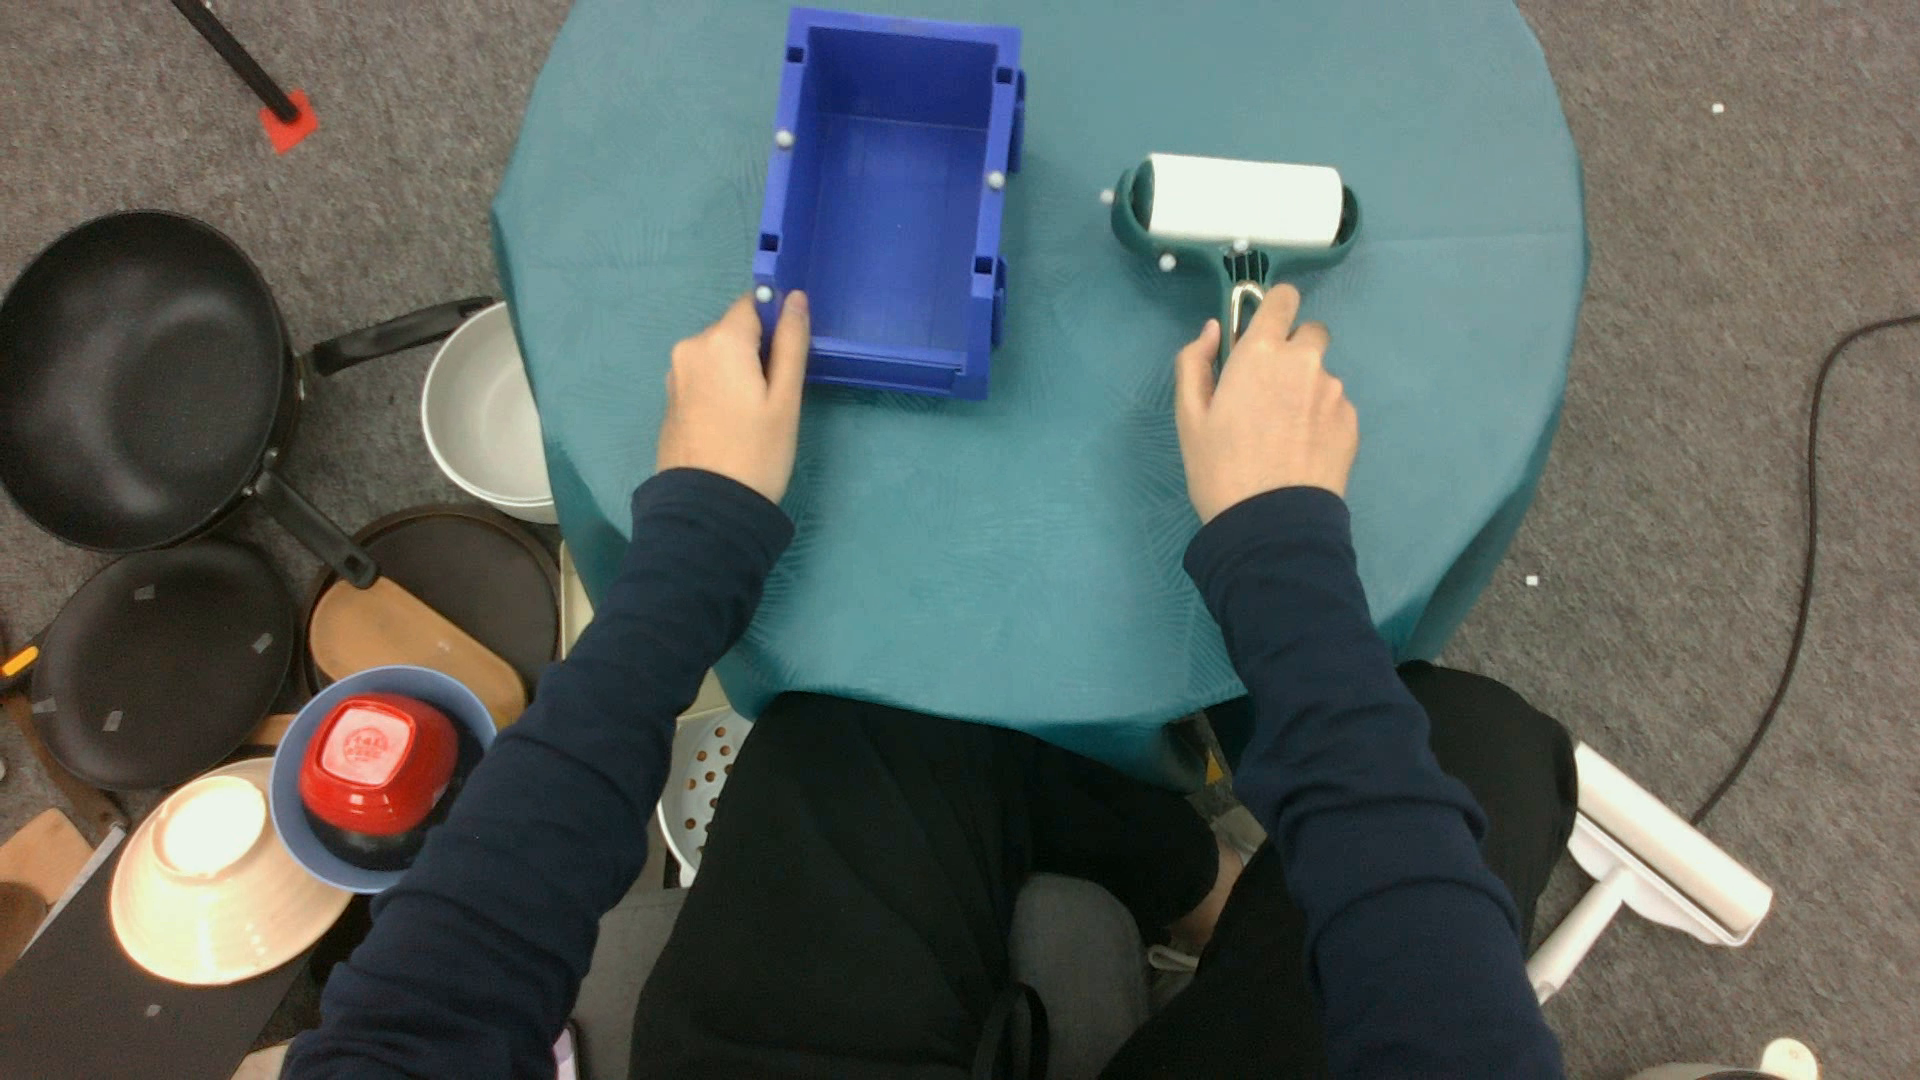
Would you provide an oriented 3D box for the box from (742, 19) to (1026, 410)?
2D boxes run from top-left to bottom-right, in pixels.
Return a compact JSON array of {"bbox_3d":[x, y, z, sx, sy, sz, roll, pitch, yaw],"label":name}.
[{"bbox_3d":[-0.037,-0.167,0.725,0.124,0.081,0.180,9,72,2],"label":"box"}]

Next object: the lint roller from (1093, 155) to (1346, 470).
[{"bbox_3d":[0.141,-0.124,0.711,0.134,0.048,0.181,-2,61,-1],"label":"lint roller"}]
